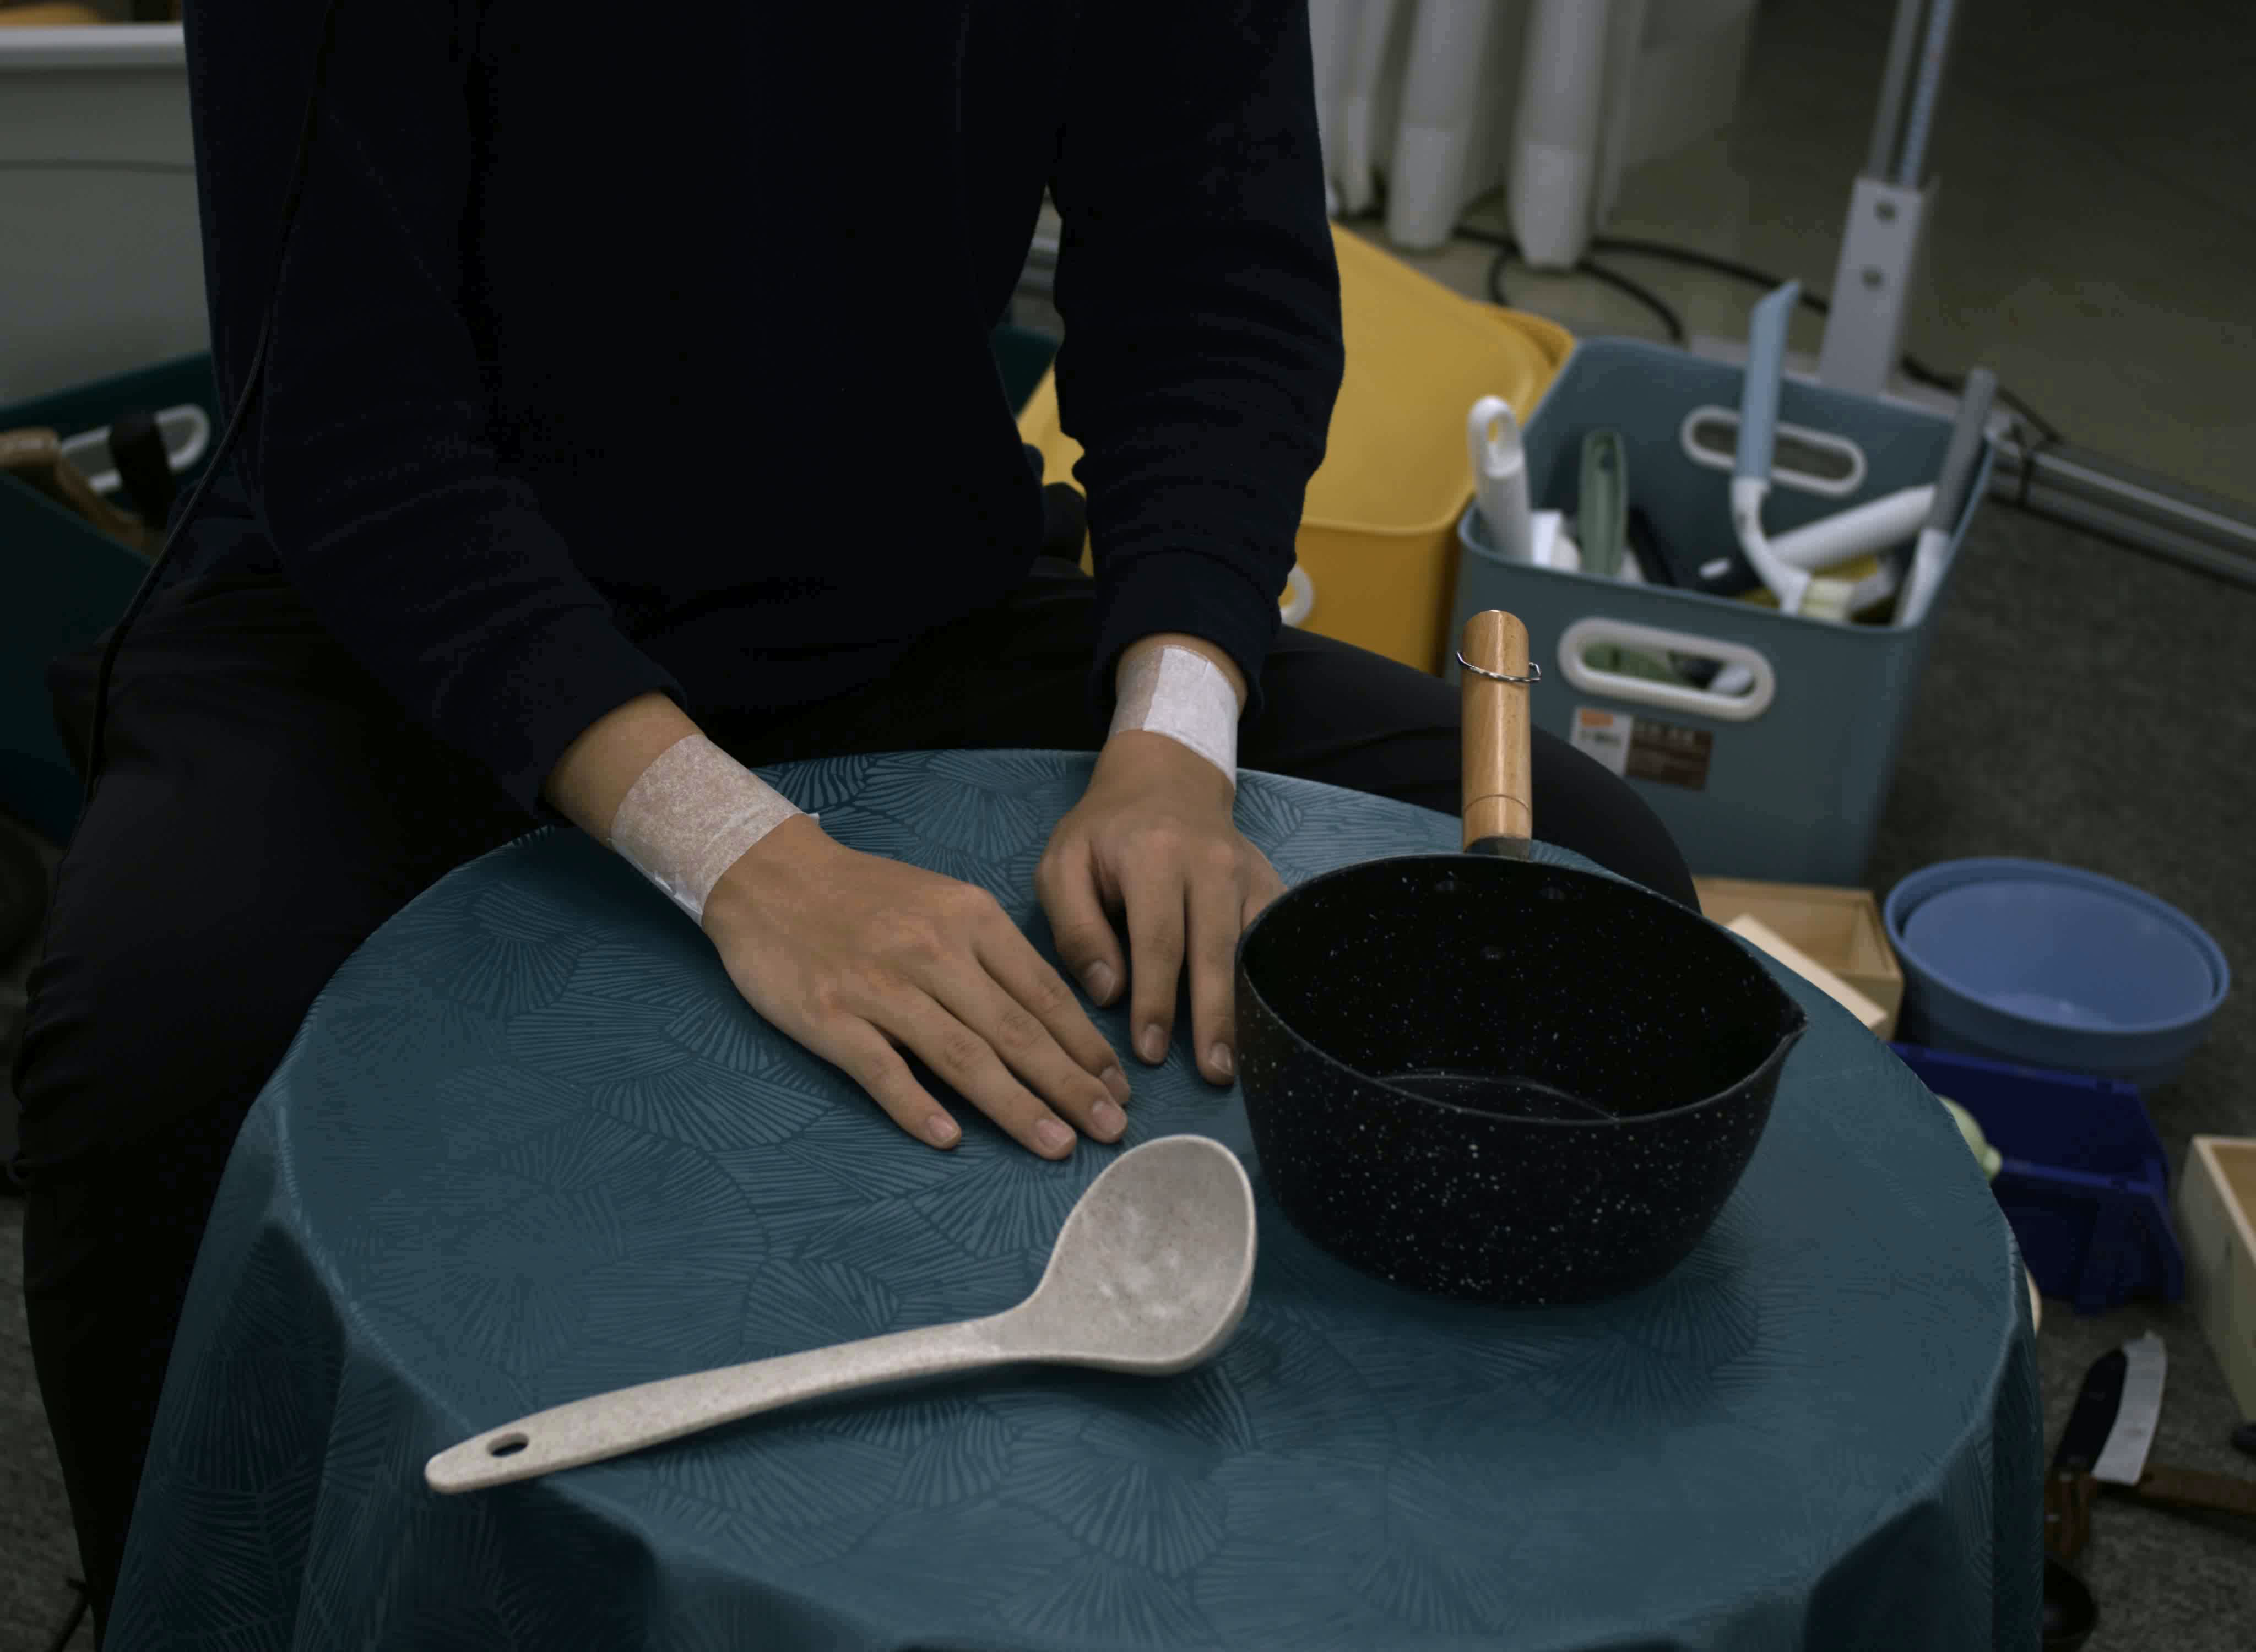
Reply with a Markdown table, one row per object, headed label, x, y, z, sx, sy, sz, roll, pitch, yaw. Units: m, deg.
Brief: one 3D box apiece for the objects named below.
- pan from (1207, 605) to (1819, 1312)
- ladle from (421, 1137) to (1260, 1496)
| label | x | y | z | sx | sy | sz | roll | pitch | yaw |
| --- | --- | --- | --- | --- | --- | --- | --- | --- | --- |
| pan | 0.127 | 0.043 | 1.872 | 0.207 | 0.108 | 0.345 | 5 | 28 | -2 |
| ladle | -0.088 | 0.154 | 1.655 | 0.273 | 0.069 | 0.090 | -9 | 37 | -25 |
